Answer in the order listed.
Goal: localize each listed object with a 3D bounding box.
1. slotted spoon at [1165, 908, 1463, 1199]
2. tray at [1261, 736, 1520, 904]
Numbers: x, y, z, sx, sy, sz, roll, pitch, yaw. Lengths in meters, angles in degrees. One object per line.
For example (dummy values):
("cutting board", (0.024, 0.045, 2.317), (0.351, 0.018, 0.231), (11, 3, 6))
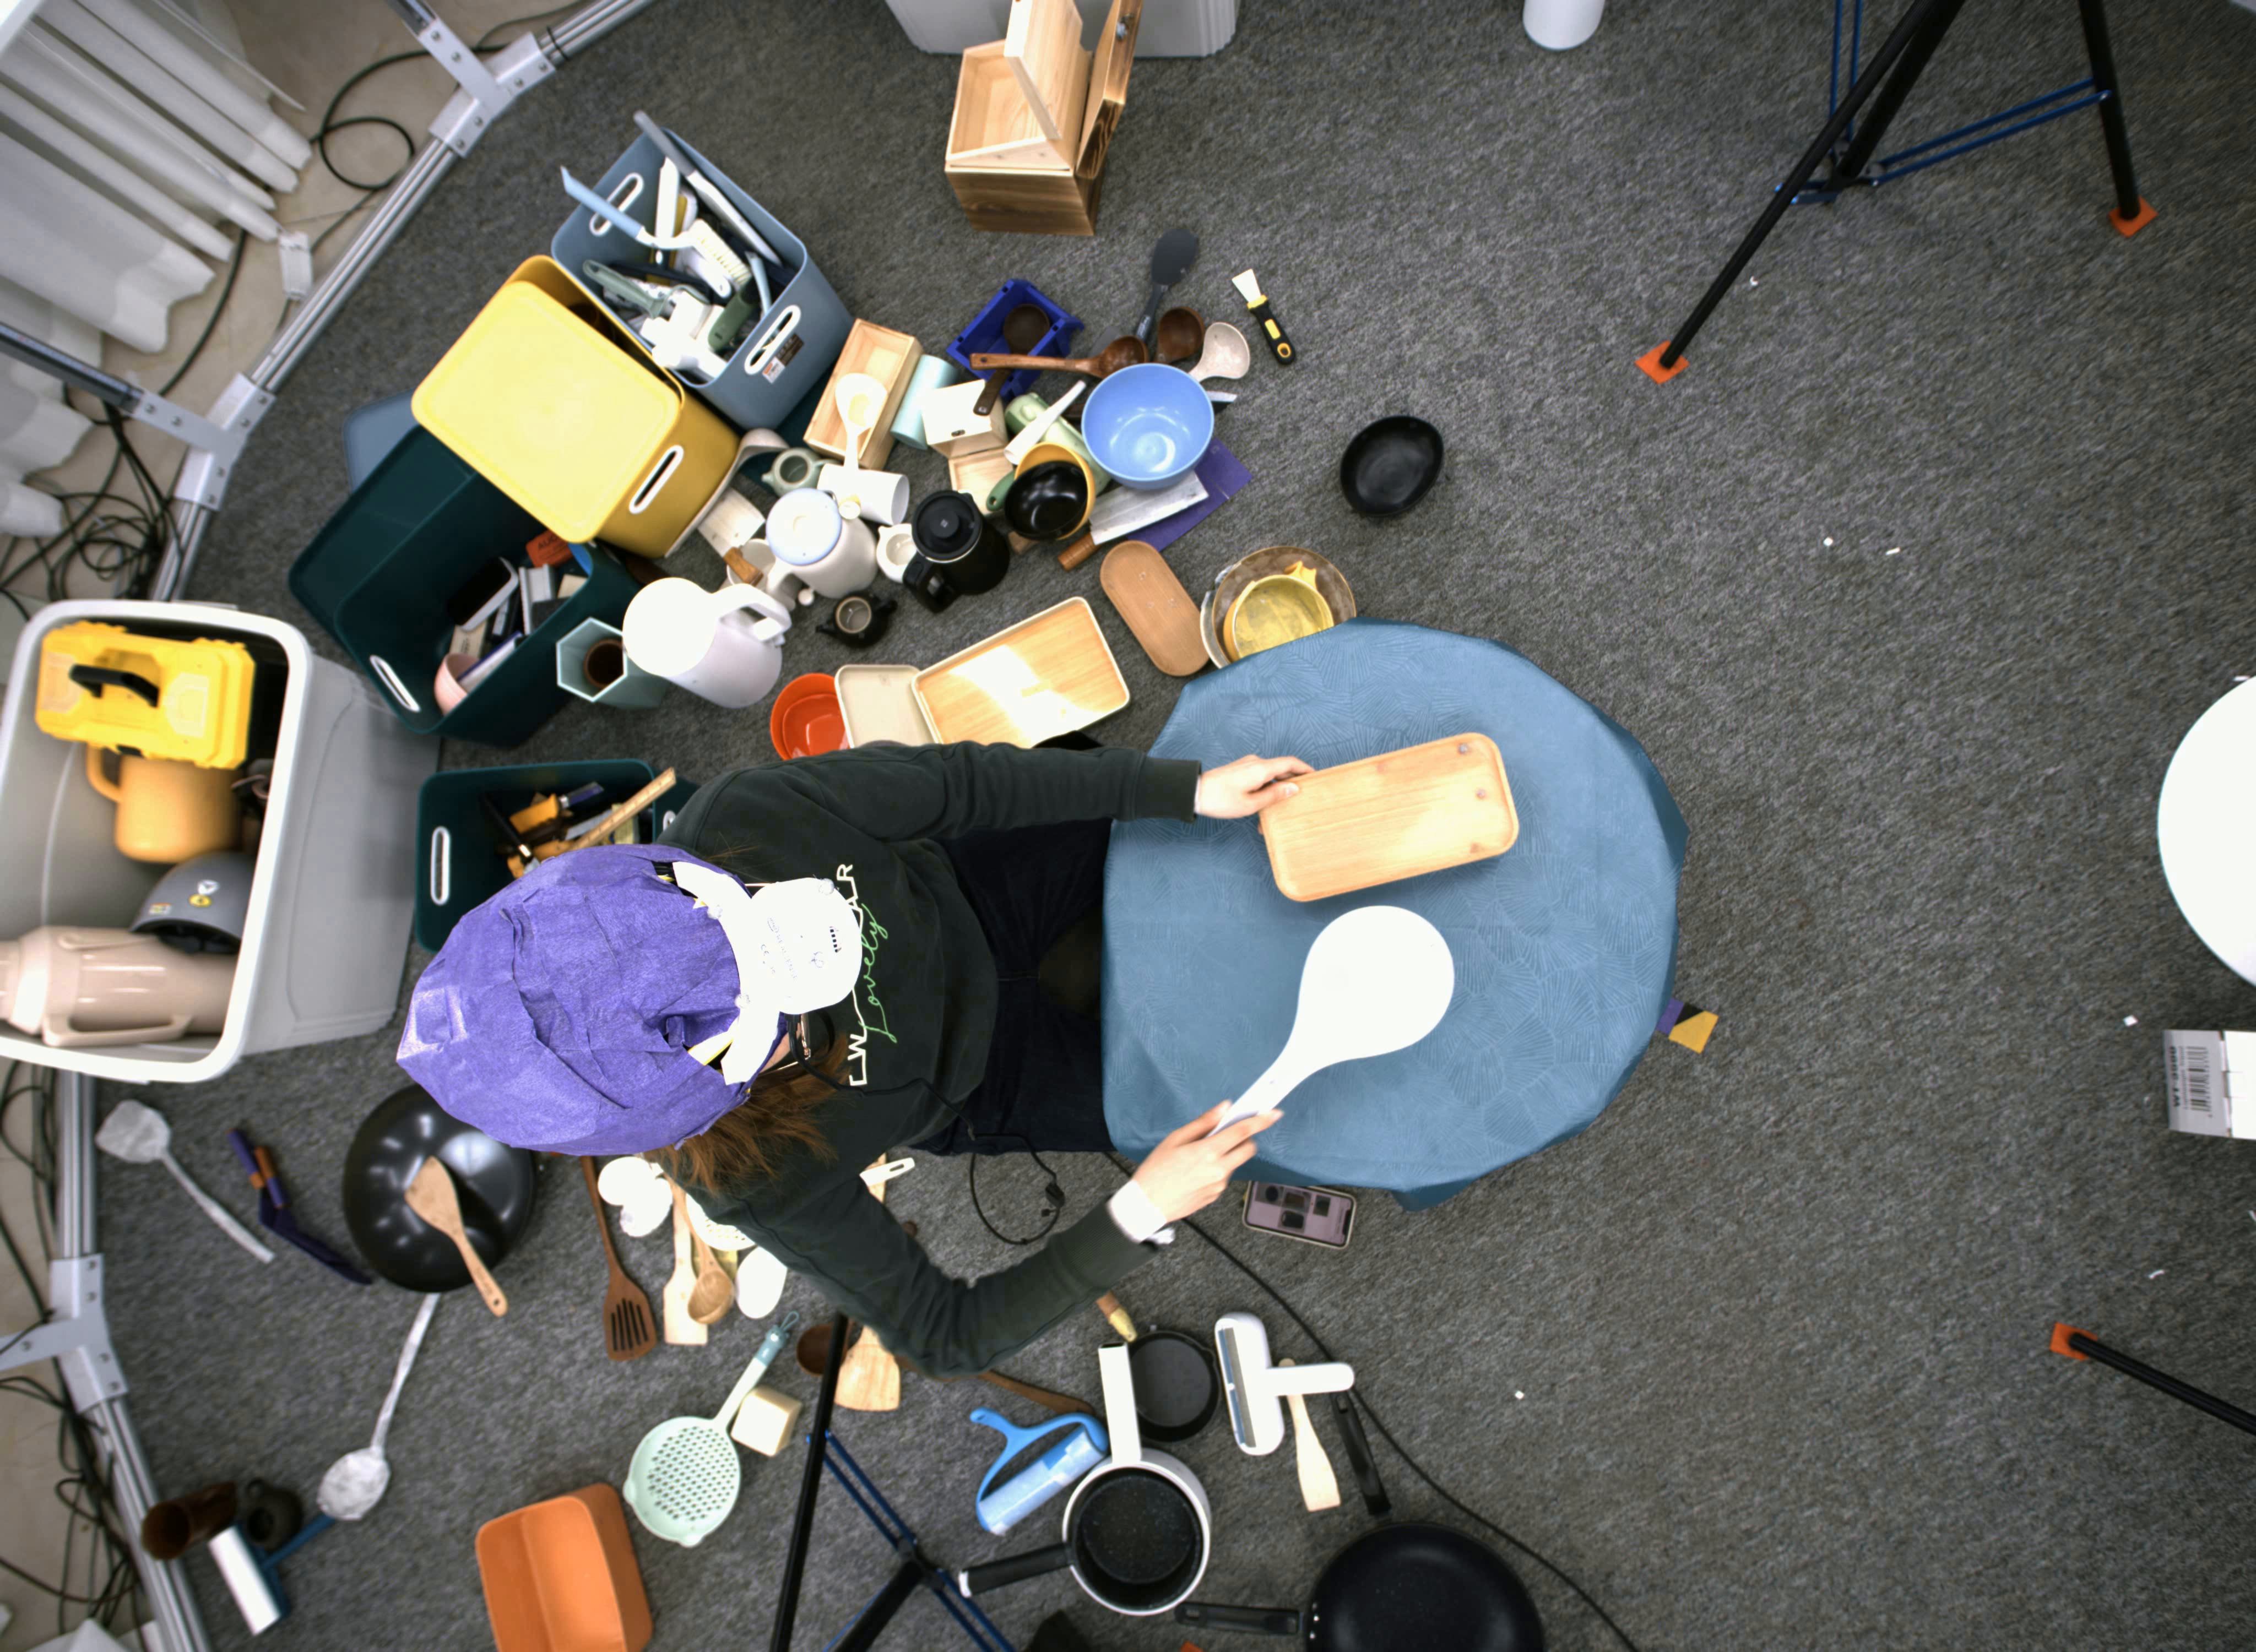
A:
("slotted spoon", (0.168, 0.218, 1.298), (0.349, 0.046, 0.136), (-45, 96, -3))
("tray", (0.266, -0.006, 1.406), (0.252, 0.023, 0.130), (-14, 86, 10))
